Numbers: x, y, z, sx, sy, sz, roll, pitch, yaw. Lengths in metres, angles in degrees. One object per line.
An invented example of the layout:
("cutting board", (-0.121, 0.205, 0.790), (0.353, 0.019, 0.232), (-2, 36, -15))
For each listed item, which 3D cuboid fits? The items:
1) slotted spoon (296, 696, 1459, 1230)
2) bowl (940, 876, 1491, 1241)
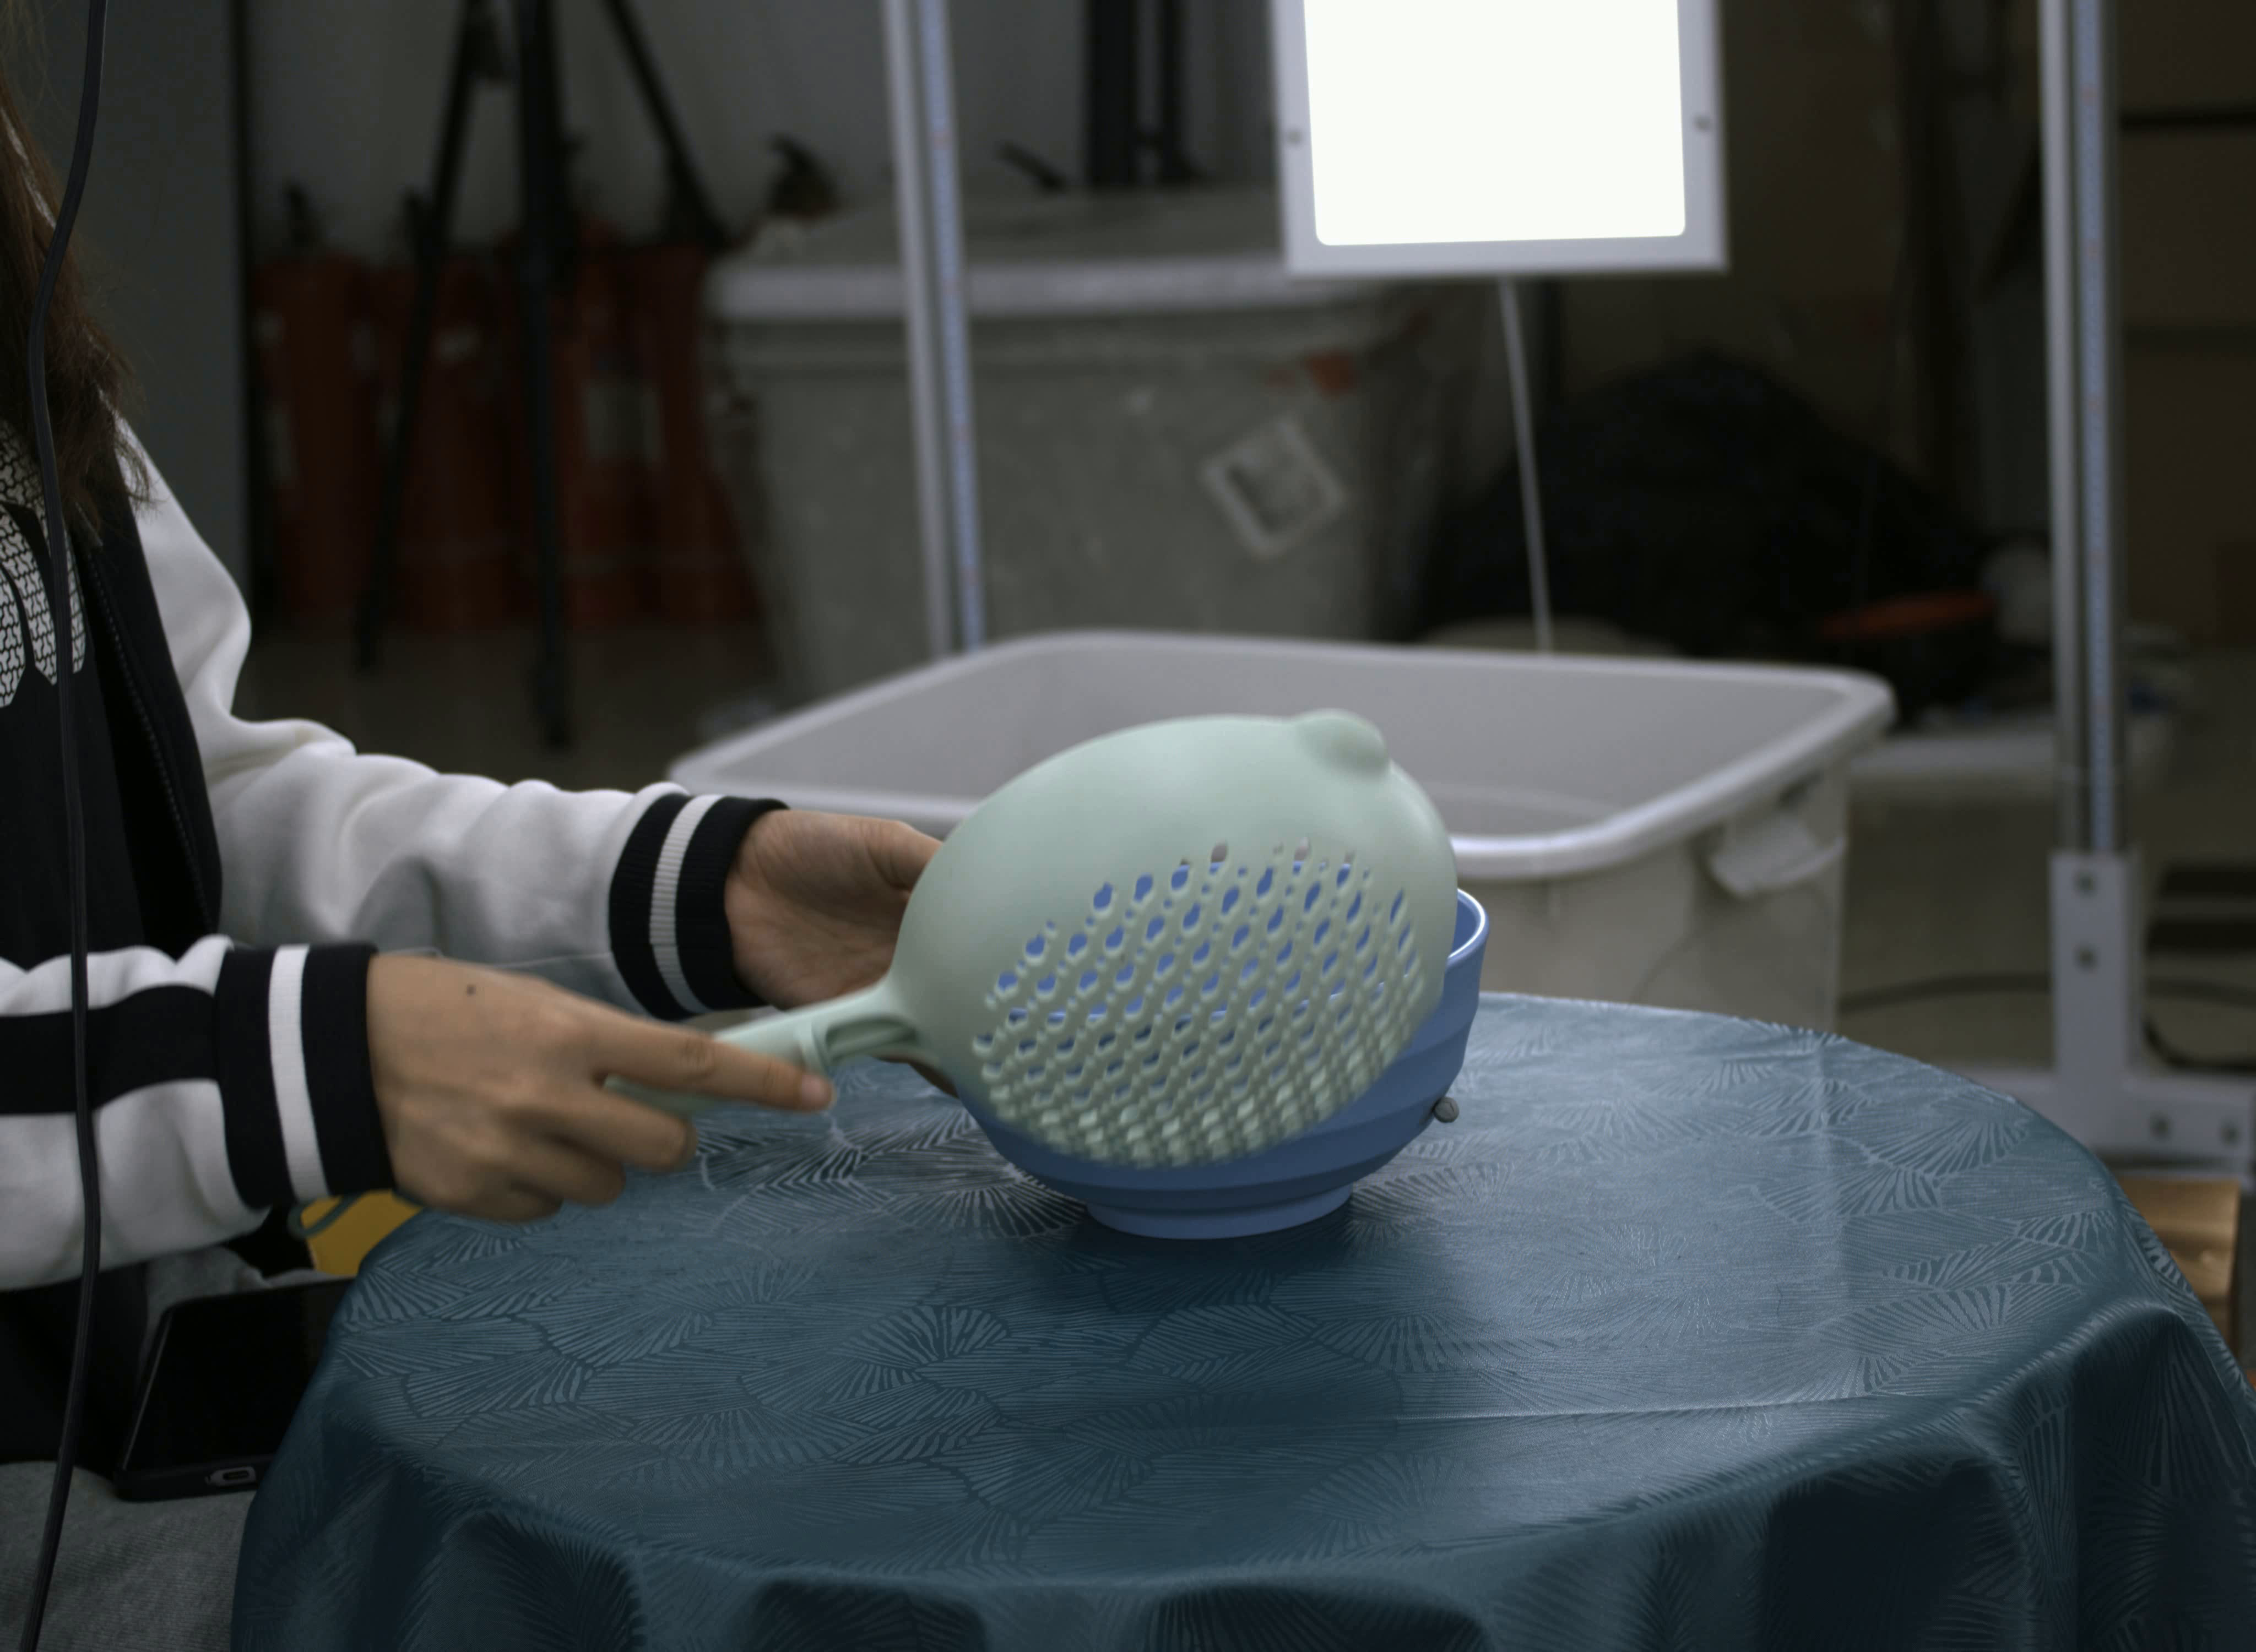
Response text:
("slotted spoon", (-0.075, 0.059, 1.644), (0.361, 0.169, 0.075), (-10, 46, 10))
("bowl", (0.029, 0.082, 1.871), (0.196, 0.096, 0.196), (-5, 14, 0))
